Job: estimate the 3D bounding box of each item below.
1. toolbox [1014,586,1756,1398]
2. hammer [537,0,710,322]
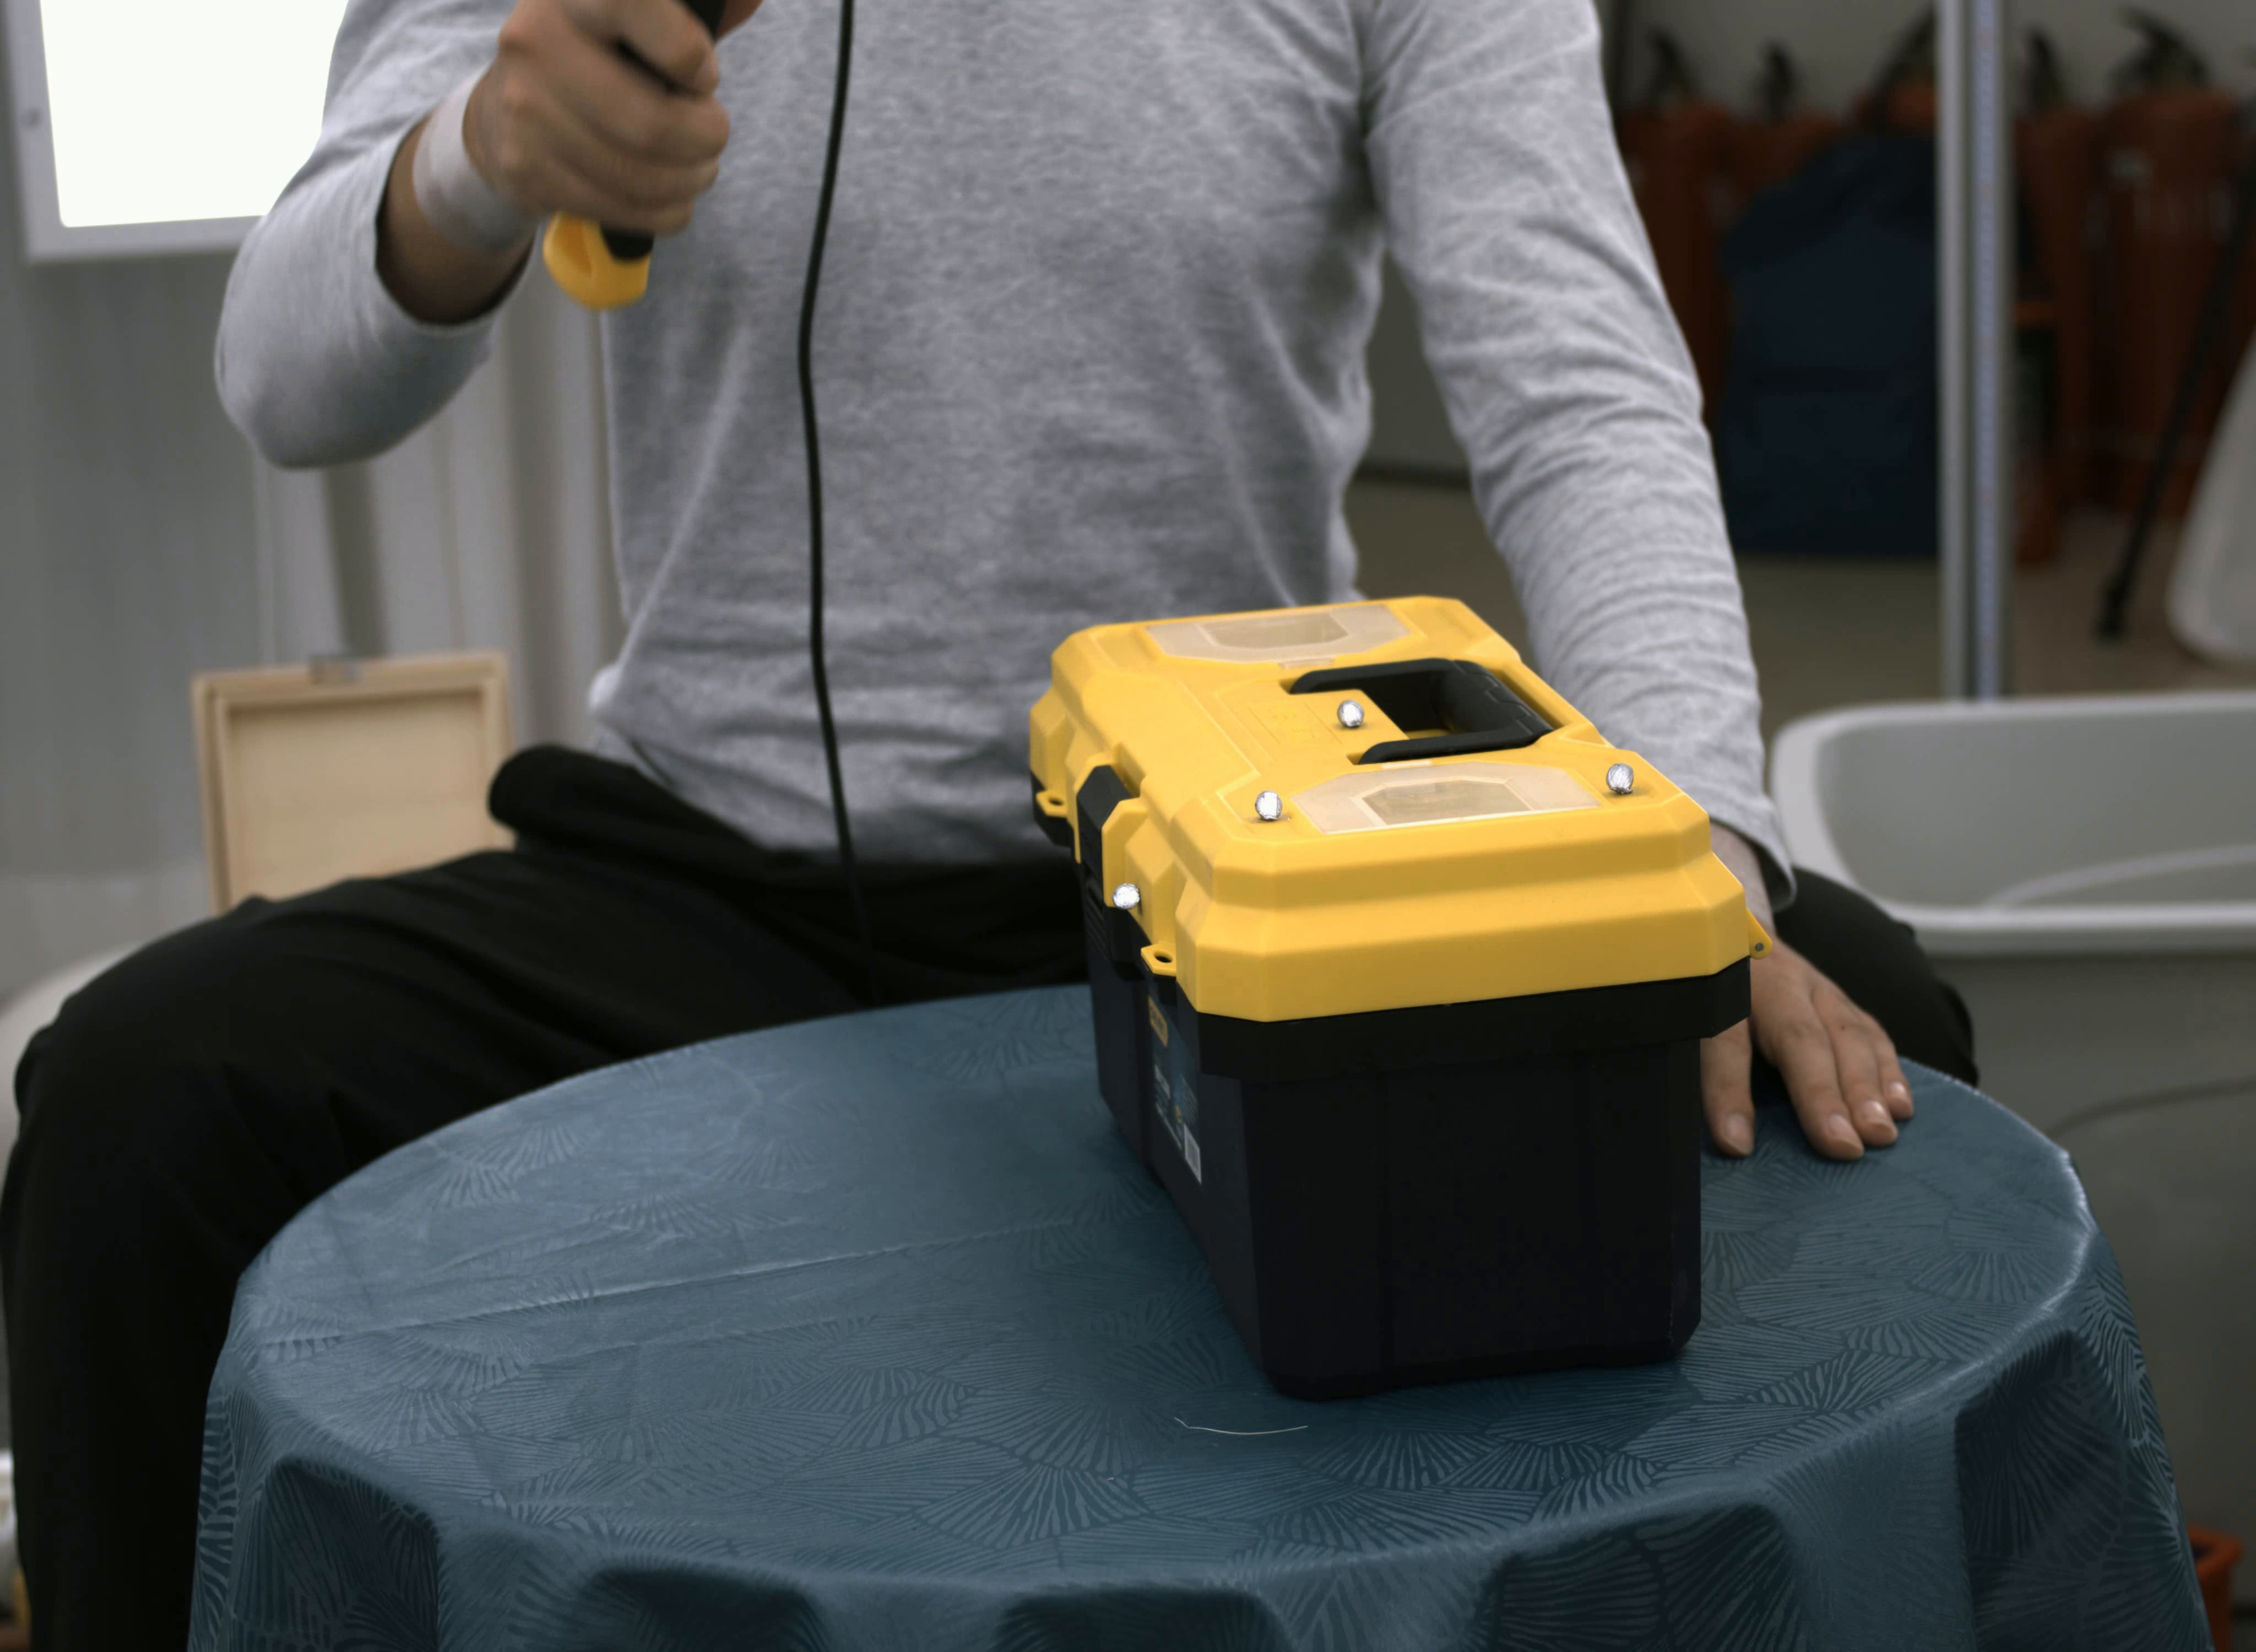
[{"bbox_3d":[0.075,0.044,1.701,0.178,0.175,0.353,-6,14,-8],"label":"toolbox"},{"bbox_3d":[-0.140,-0.288,1.719,0.031,0.341,0.132,-27,64,-35],"label":"hammer"}]
